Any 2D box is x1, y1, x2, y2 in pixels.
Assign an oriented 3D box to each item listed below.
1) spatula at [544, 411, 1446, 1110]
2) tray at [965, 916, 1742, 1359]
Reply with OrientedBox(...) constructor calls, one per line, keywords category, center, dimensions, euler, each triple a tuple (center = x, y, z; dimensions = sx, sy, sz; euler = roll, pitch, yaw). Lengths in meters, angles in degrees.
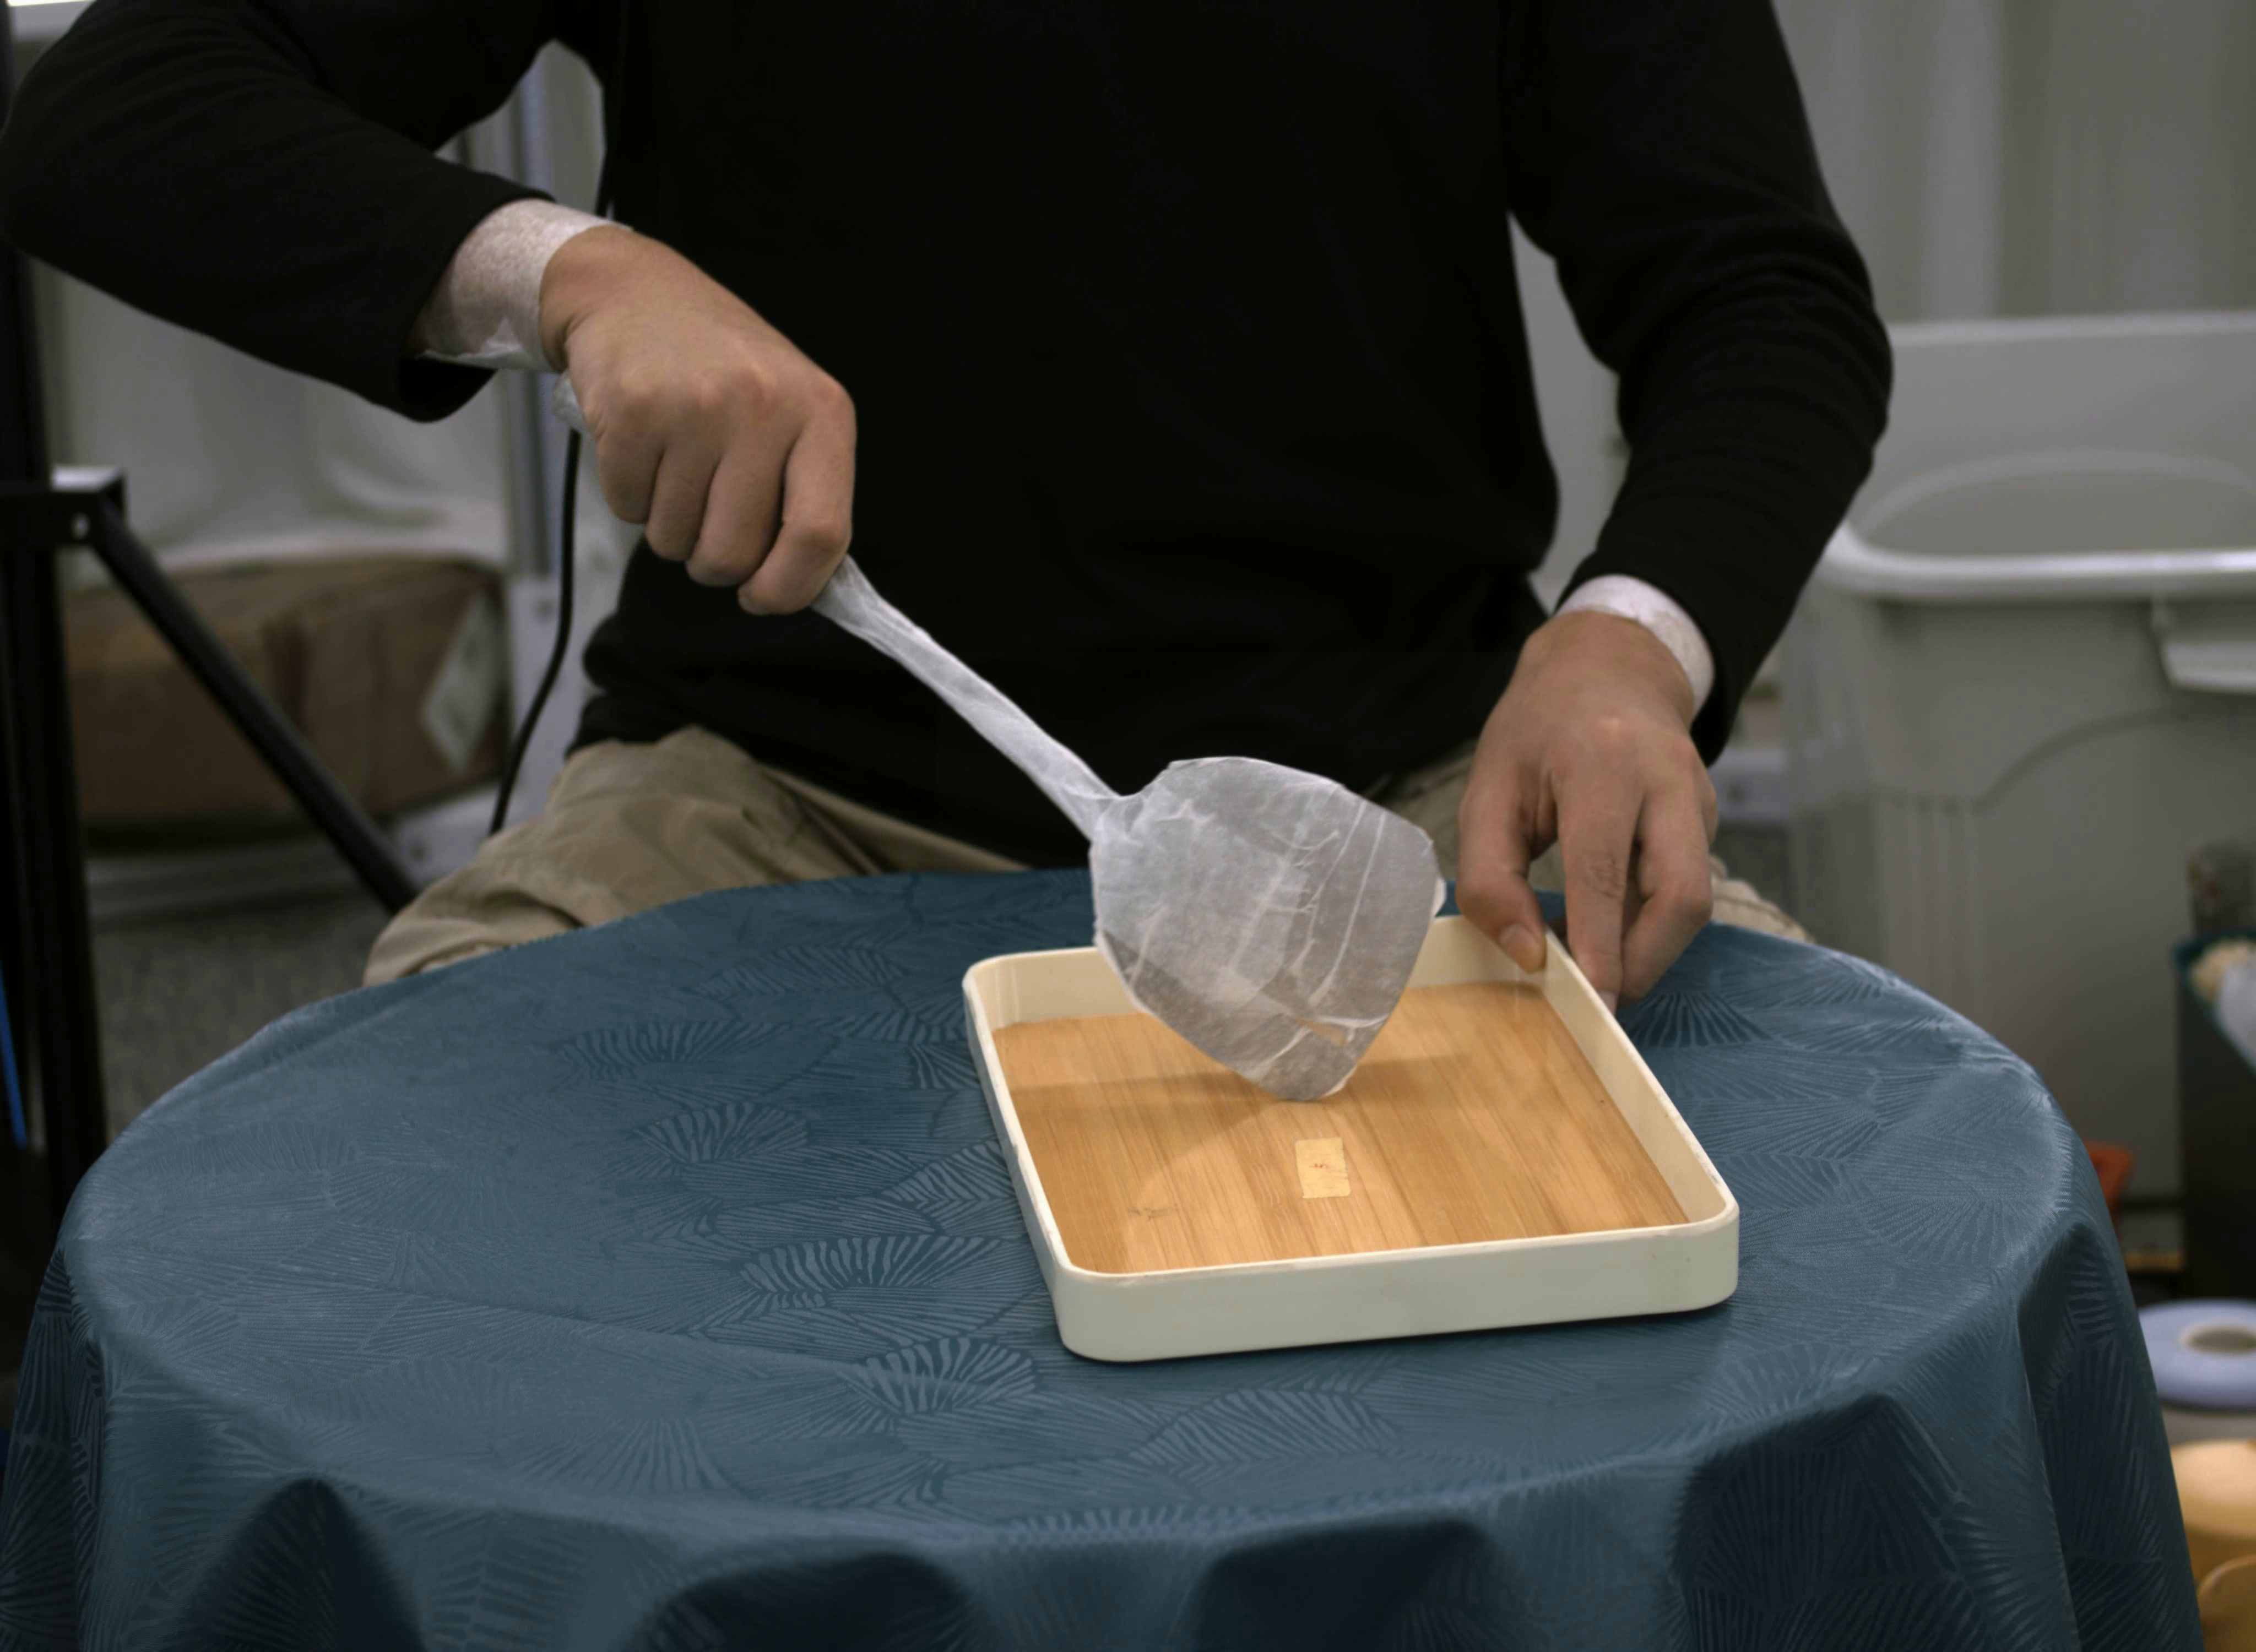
OrientedBox(category="spatula", center=(-0.051, -0.041, 1.669), dimensions=(0.372, 0.099, 0.043), euler=(38, 23, 33))
OrientedBox(category="tray", center=(0.059, 0.087, 1.566), dimensions=(0.190, 0.027, 0.303), euler=(-5, 16, -5))
